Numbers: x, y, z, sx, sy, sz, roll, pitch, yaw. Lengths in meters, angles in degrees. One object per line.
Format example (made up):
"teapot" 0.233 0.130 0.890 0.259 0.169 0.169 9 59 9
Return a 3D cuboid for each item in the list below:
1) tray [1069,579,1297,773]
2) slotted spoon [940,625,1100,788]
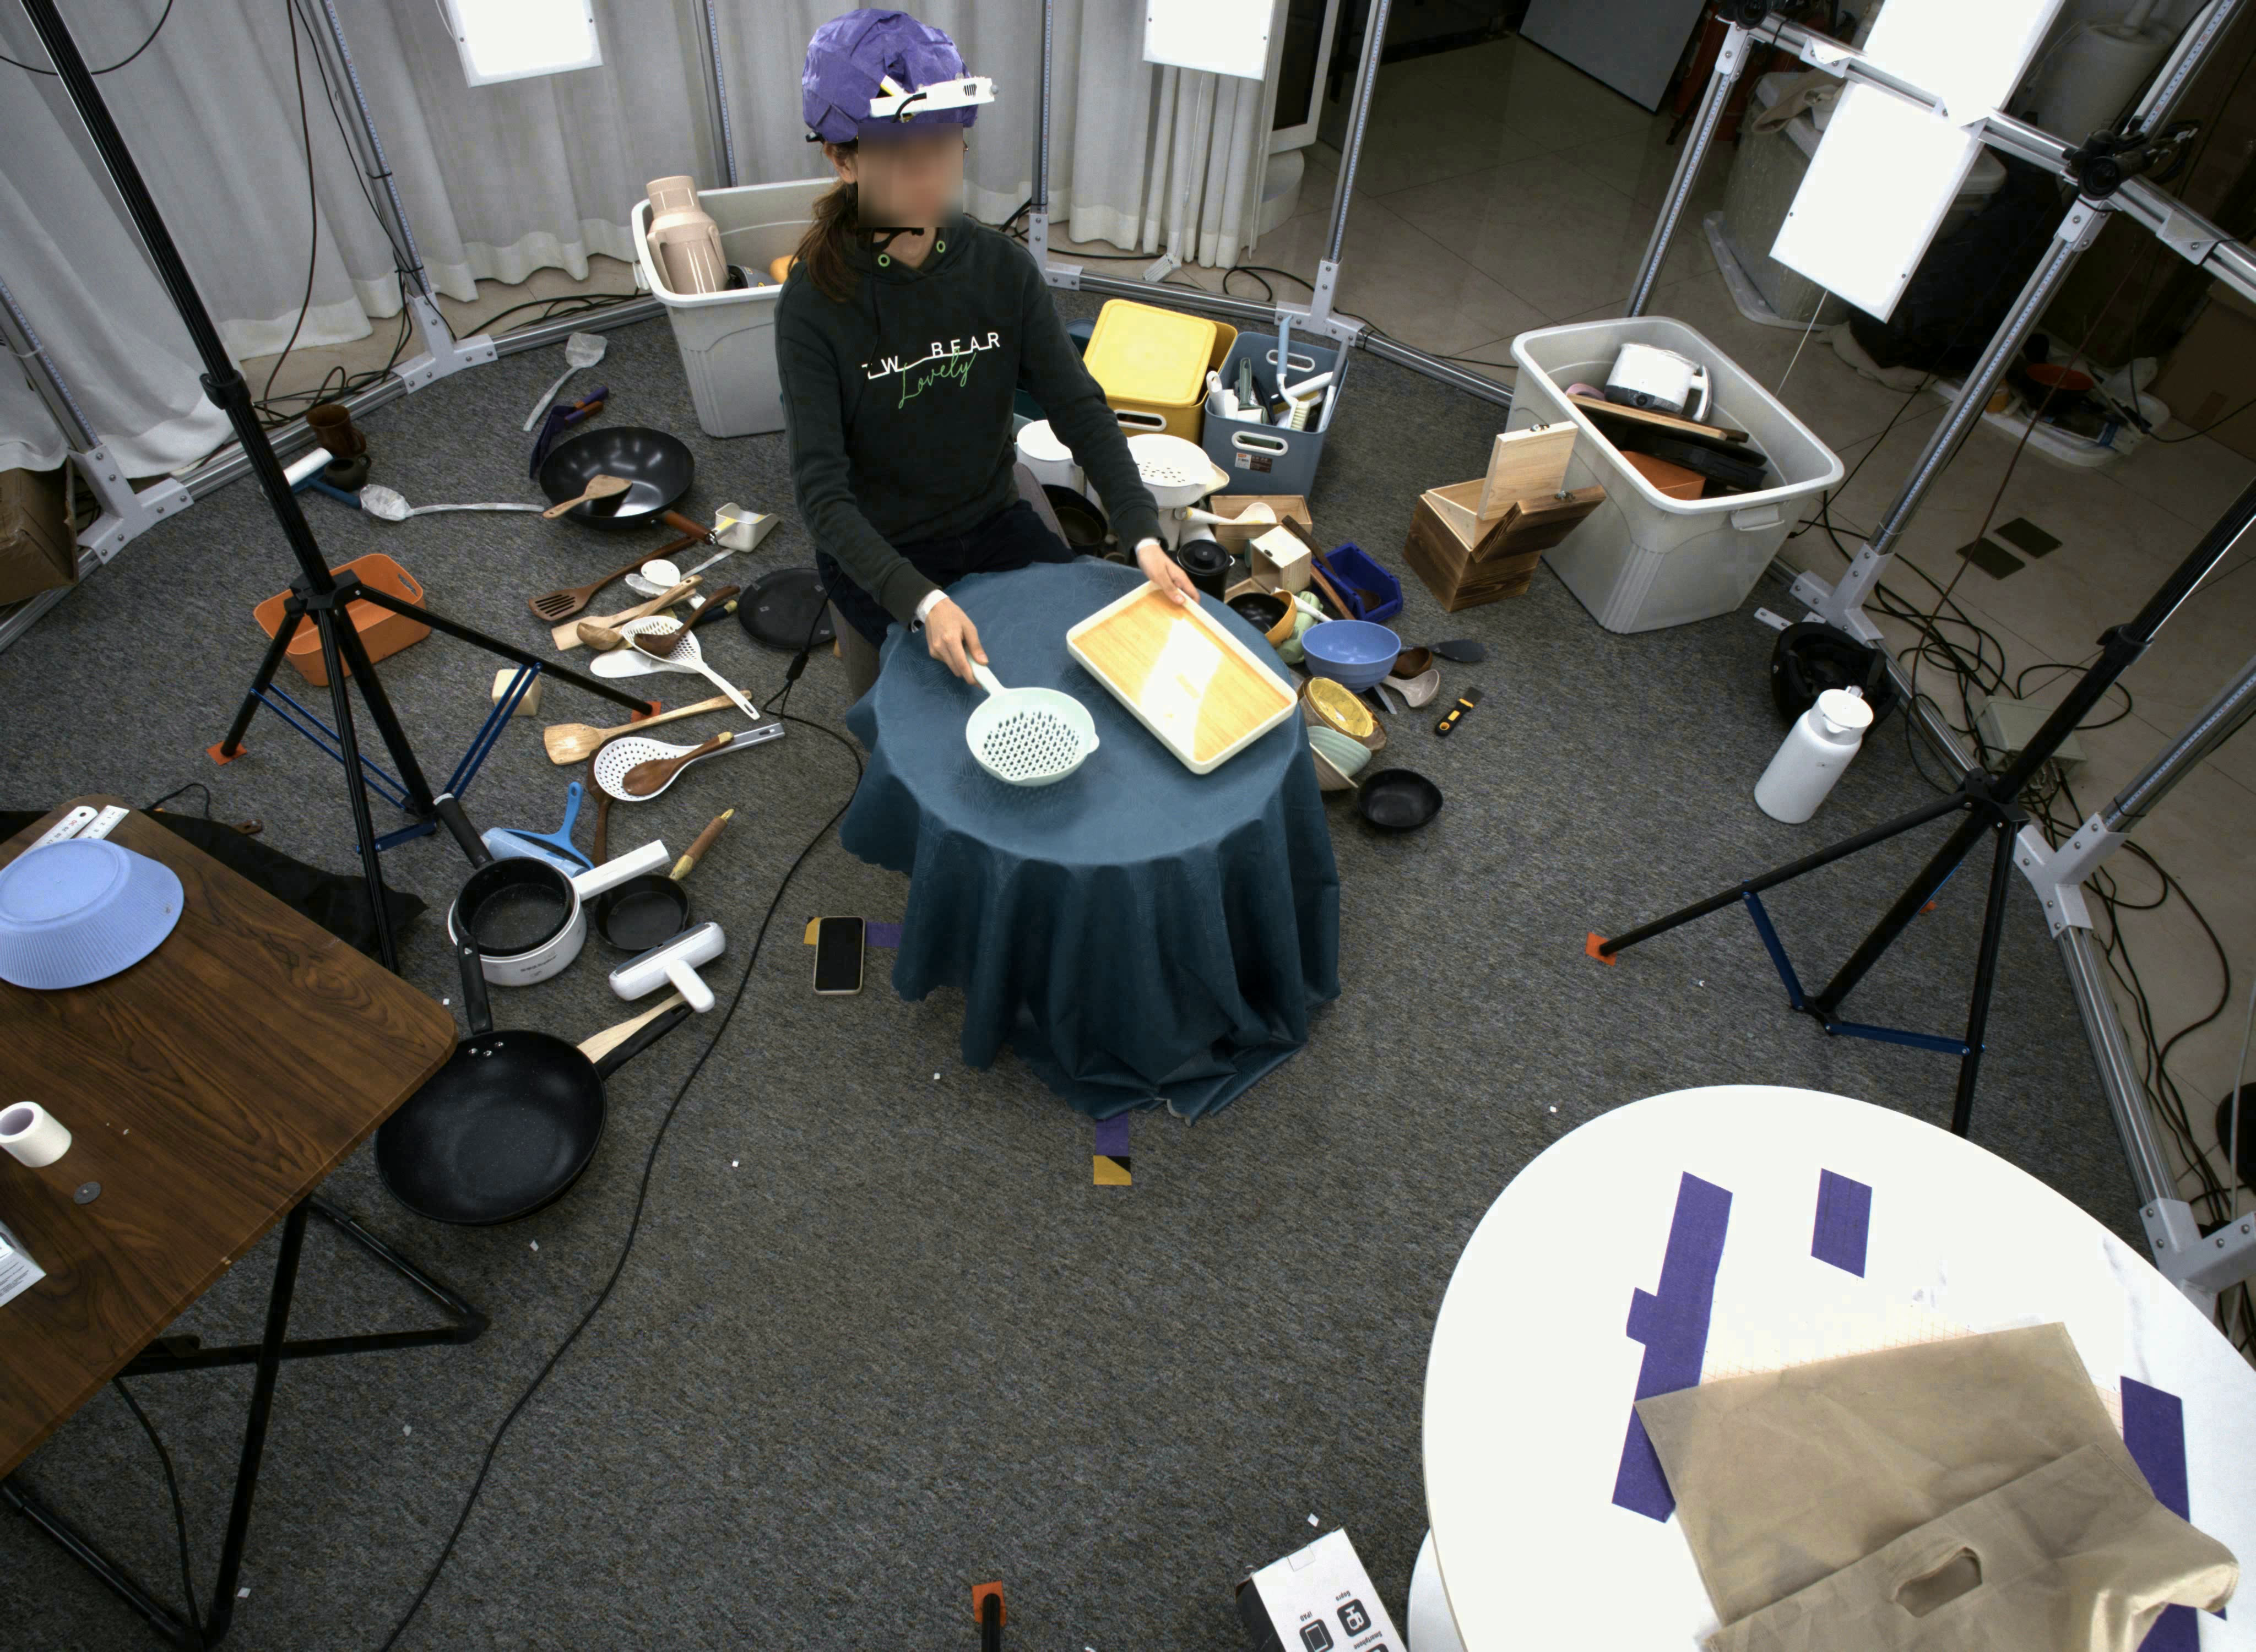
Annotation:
"tray" 0.075 -0.218 1.821 0.193 0.027 0.305 -33 63 -21
"slotted spoon" -0.178 -0.180 1.766 0.170 0.073 0.366 -22 58 -21
